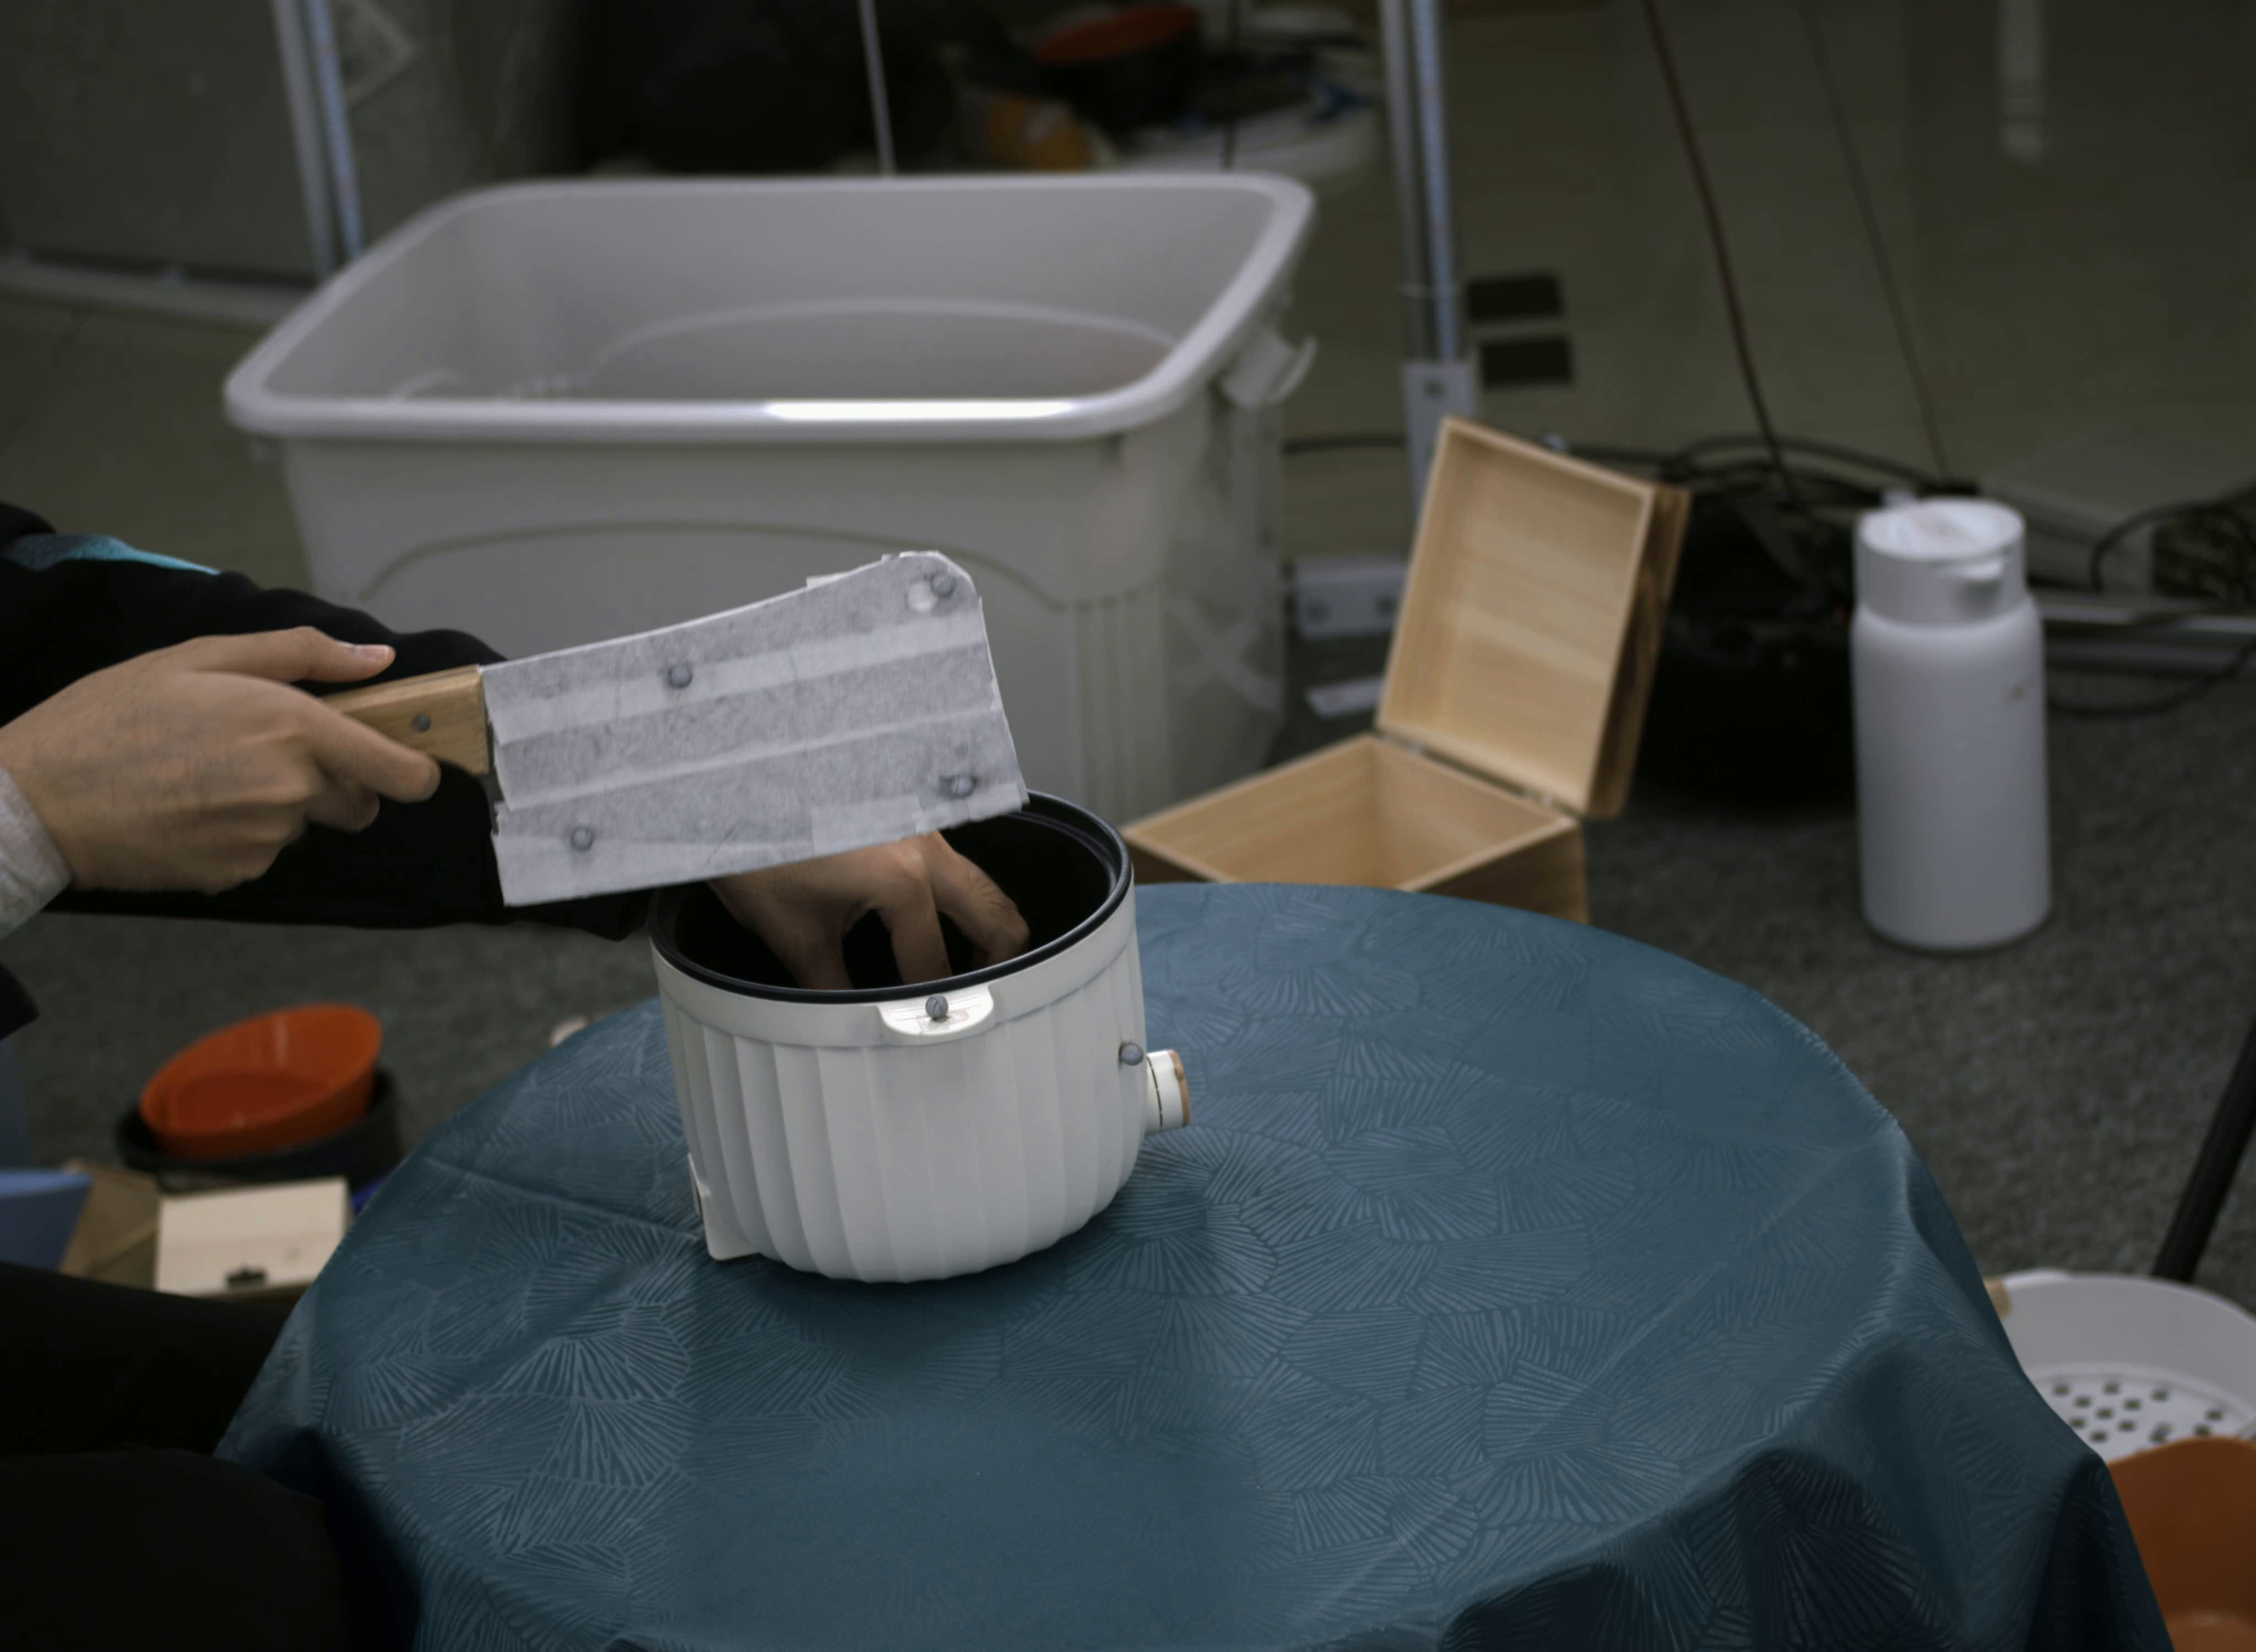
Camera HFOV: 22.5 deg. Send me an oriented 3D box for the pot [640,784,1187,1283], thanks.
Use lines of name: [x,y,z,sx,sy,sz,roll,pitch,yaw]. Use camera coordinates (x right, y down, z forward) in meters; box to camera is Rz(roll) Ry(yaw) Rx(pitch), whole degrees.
pot: [-0.078,0.080,2.125,0.190,0.145,0.237,-13,27,-7]

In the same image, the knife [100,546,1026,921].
knife: [-0.194,-0.025,1.942,0.315,0.115,0.021,-8,18,-7]
